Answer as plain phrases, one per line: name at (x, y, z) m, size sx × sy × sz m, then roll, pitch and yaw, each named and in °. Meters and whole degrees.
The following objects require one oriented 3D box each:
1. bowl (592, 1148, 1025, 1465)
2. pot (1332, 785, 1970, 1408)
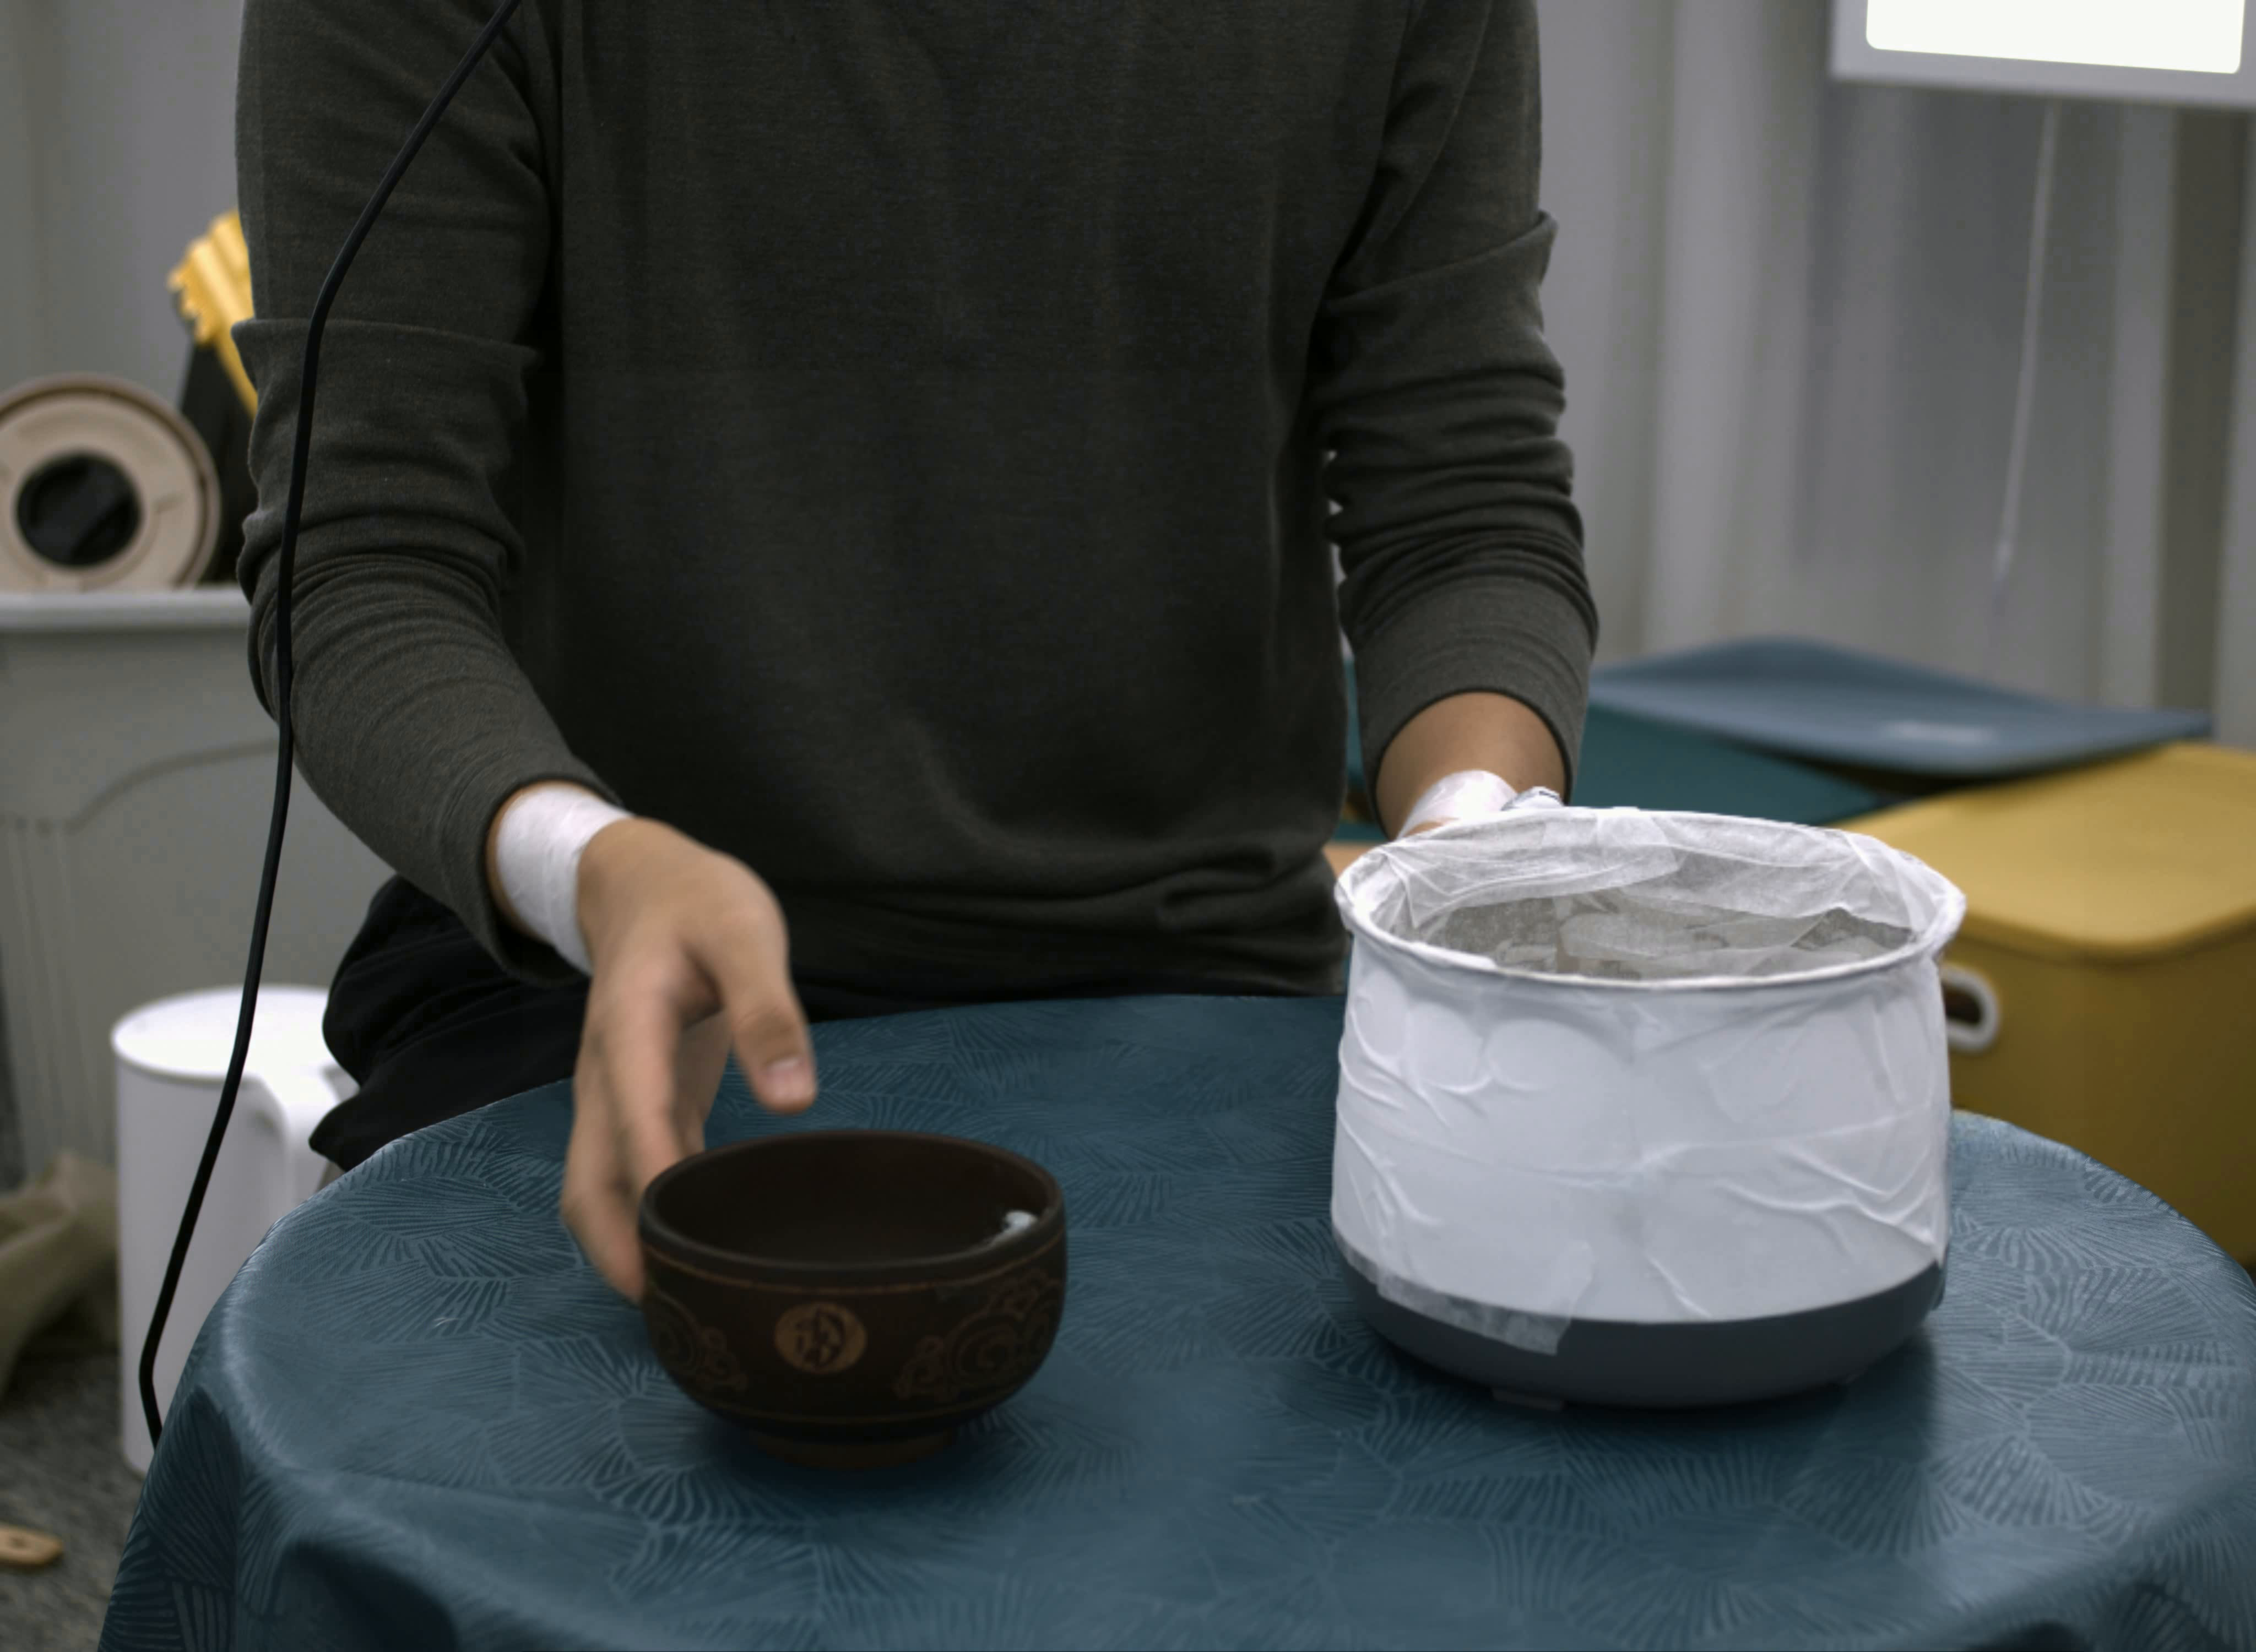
bowl at (-0.086, 0.133, 1.430) m, size 0.117 × 0.070 × 0.117 m, roll -1°, pitch 9°, yaw 1°
pot at (0.139, 0.072, 1.518) m, size 0.179 × 0.138 × 0.231 m, roll -3°, pitch 16°, yaw -15°
